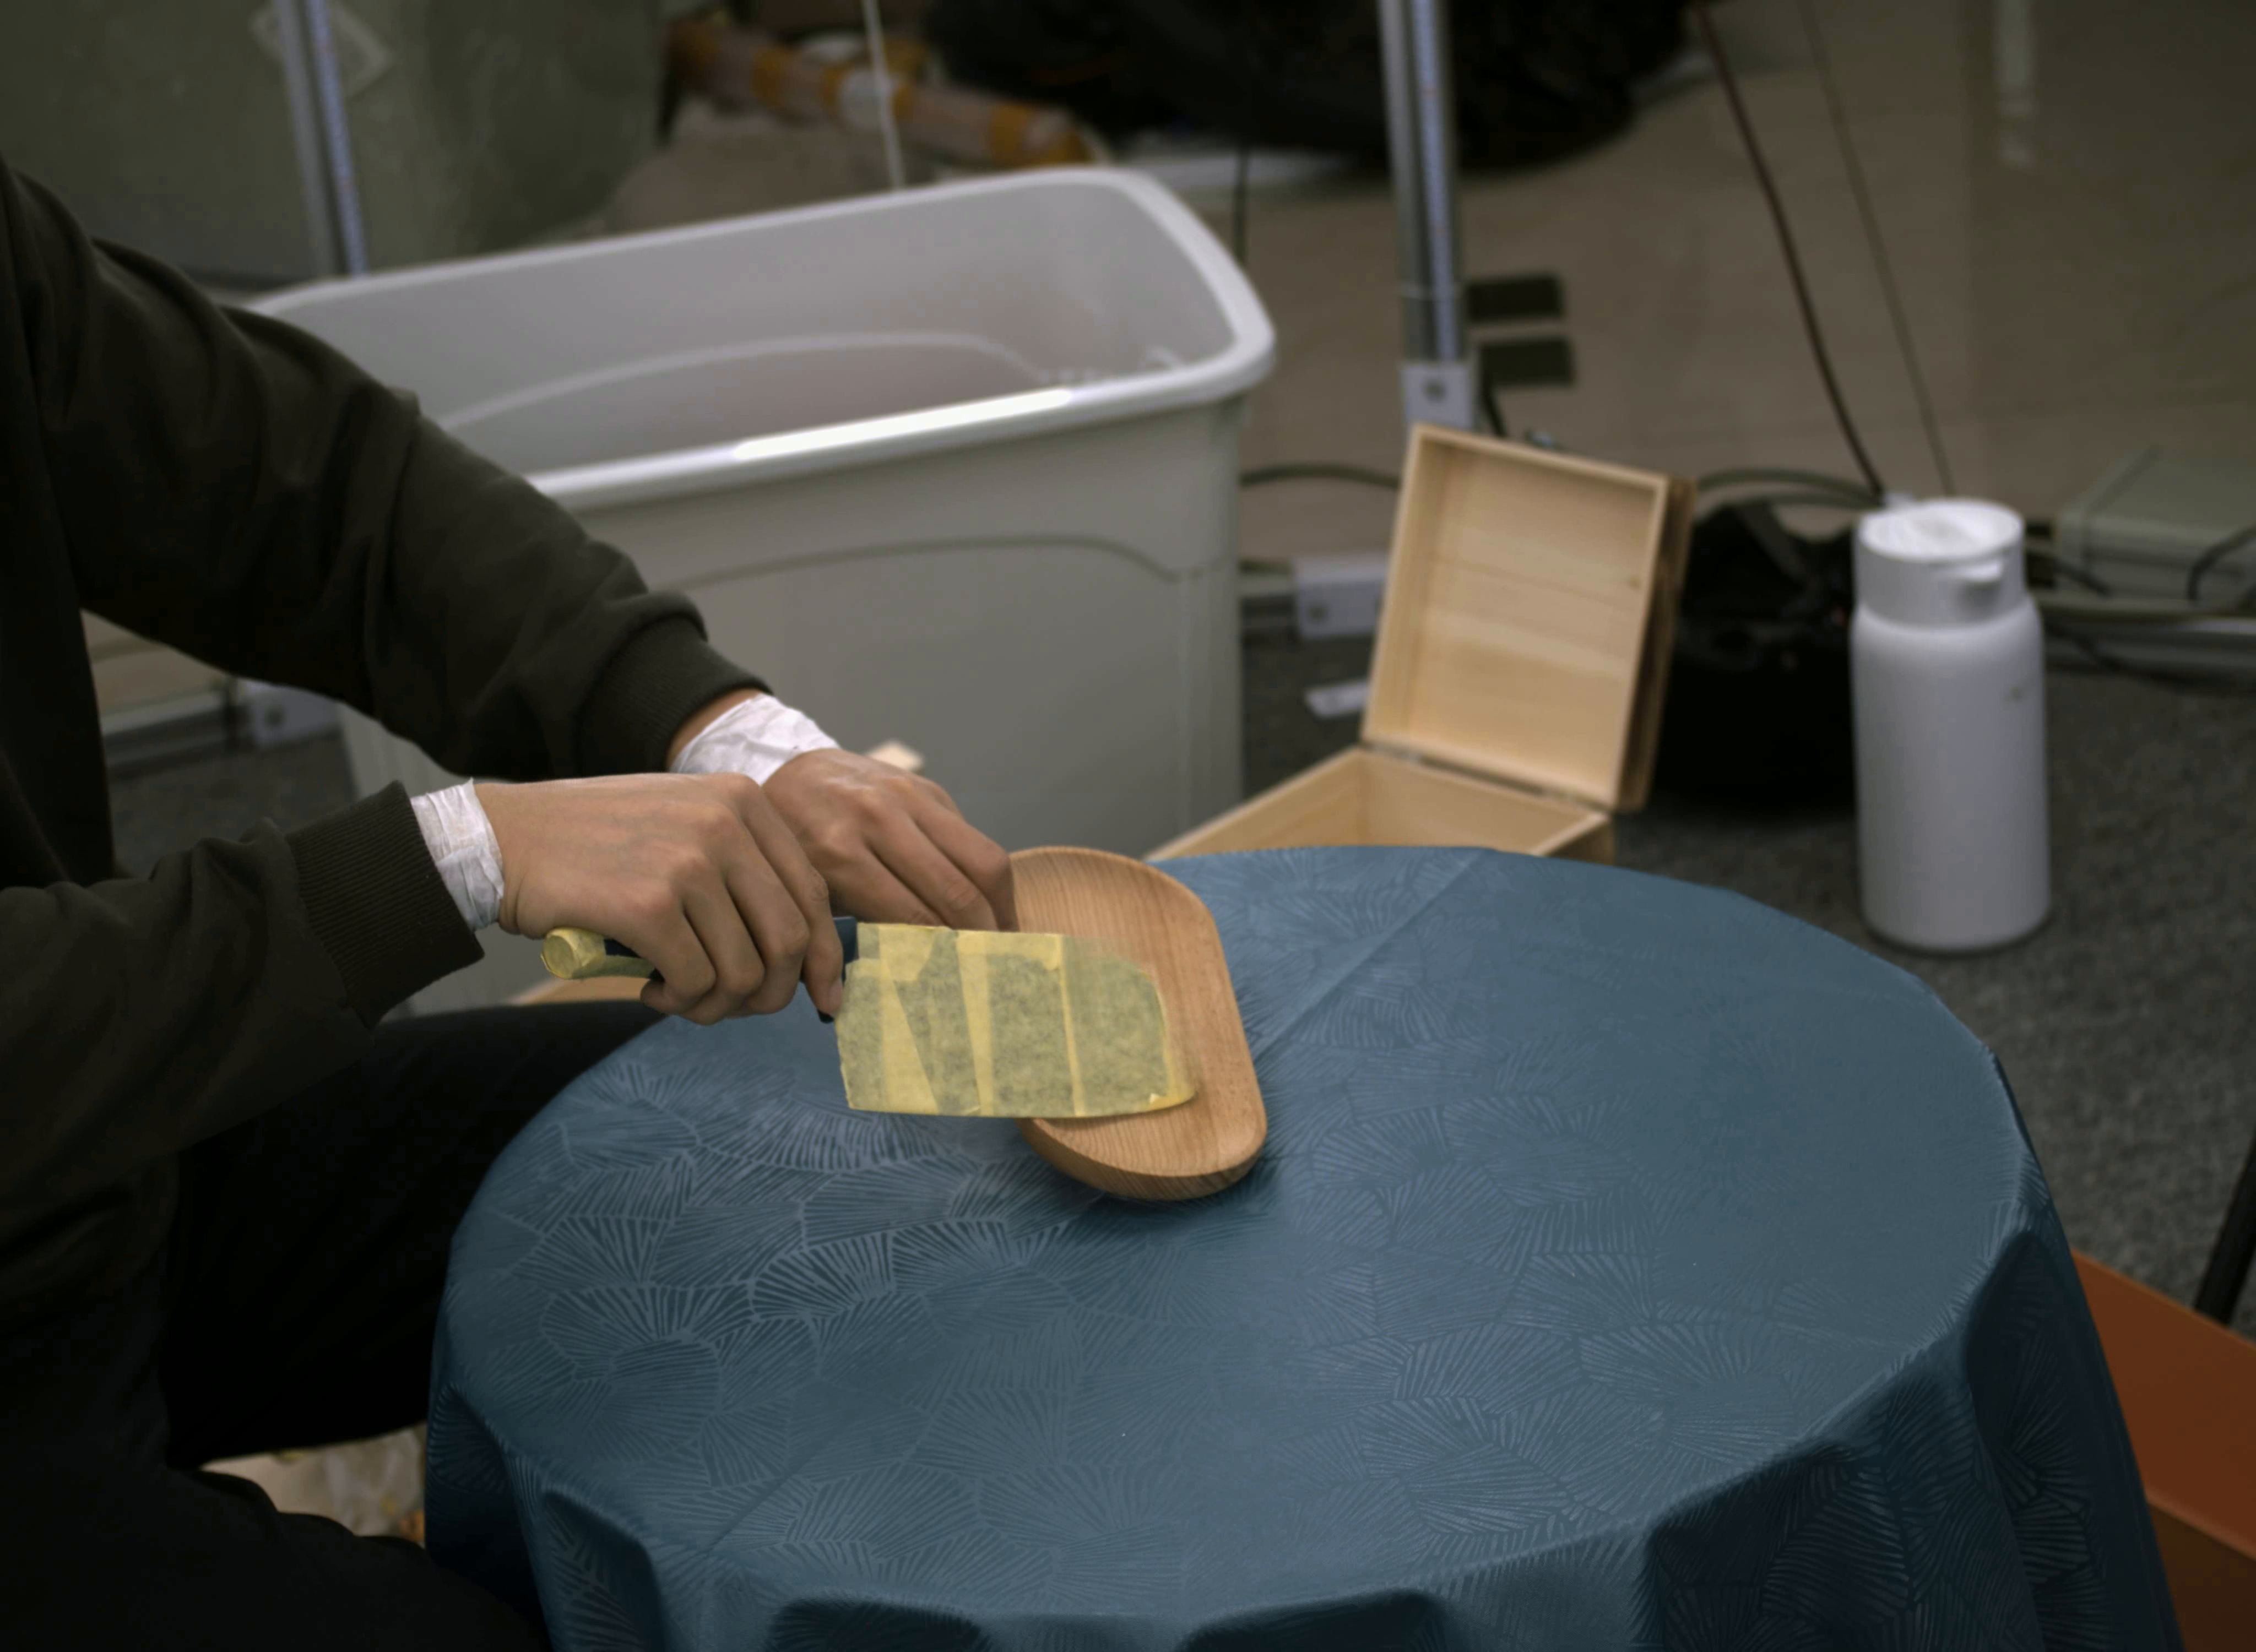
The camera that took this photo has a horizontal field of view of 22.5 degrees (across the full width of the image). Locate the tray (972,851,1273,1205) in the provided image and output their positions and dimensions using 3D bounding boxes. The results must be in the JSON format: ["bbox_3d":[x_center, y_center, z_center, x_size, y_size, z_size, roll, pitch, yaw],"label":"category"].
[{"bbox_3d":[-0.004,0.077,2.214,0.101,0.020,0.227,5,33,-13],"label":"tray"}]

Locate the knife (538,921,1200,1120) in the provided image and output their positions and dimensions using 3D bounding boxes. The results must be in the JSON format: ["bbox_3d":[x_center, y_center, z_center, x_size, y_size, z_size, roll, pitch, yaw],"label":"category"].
[{"bbox_3d":[-0.090,0.070,2.103,0.290,0.080,0.027,6,-22,-35],"label":"knife"}]
